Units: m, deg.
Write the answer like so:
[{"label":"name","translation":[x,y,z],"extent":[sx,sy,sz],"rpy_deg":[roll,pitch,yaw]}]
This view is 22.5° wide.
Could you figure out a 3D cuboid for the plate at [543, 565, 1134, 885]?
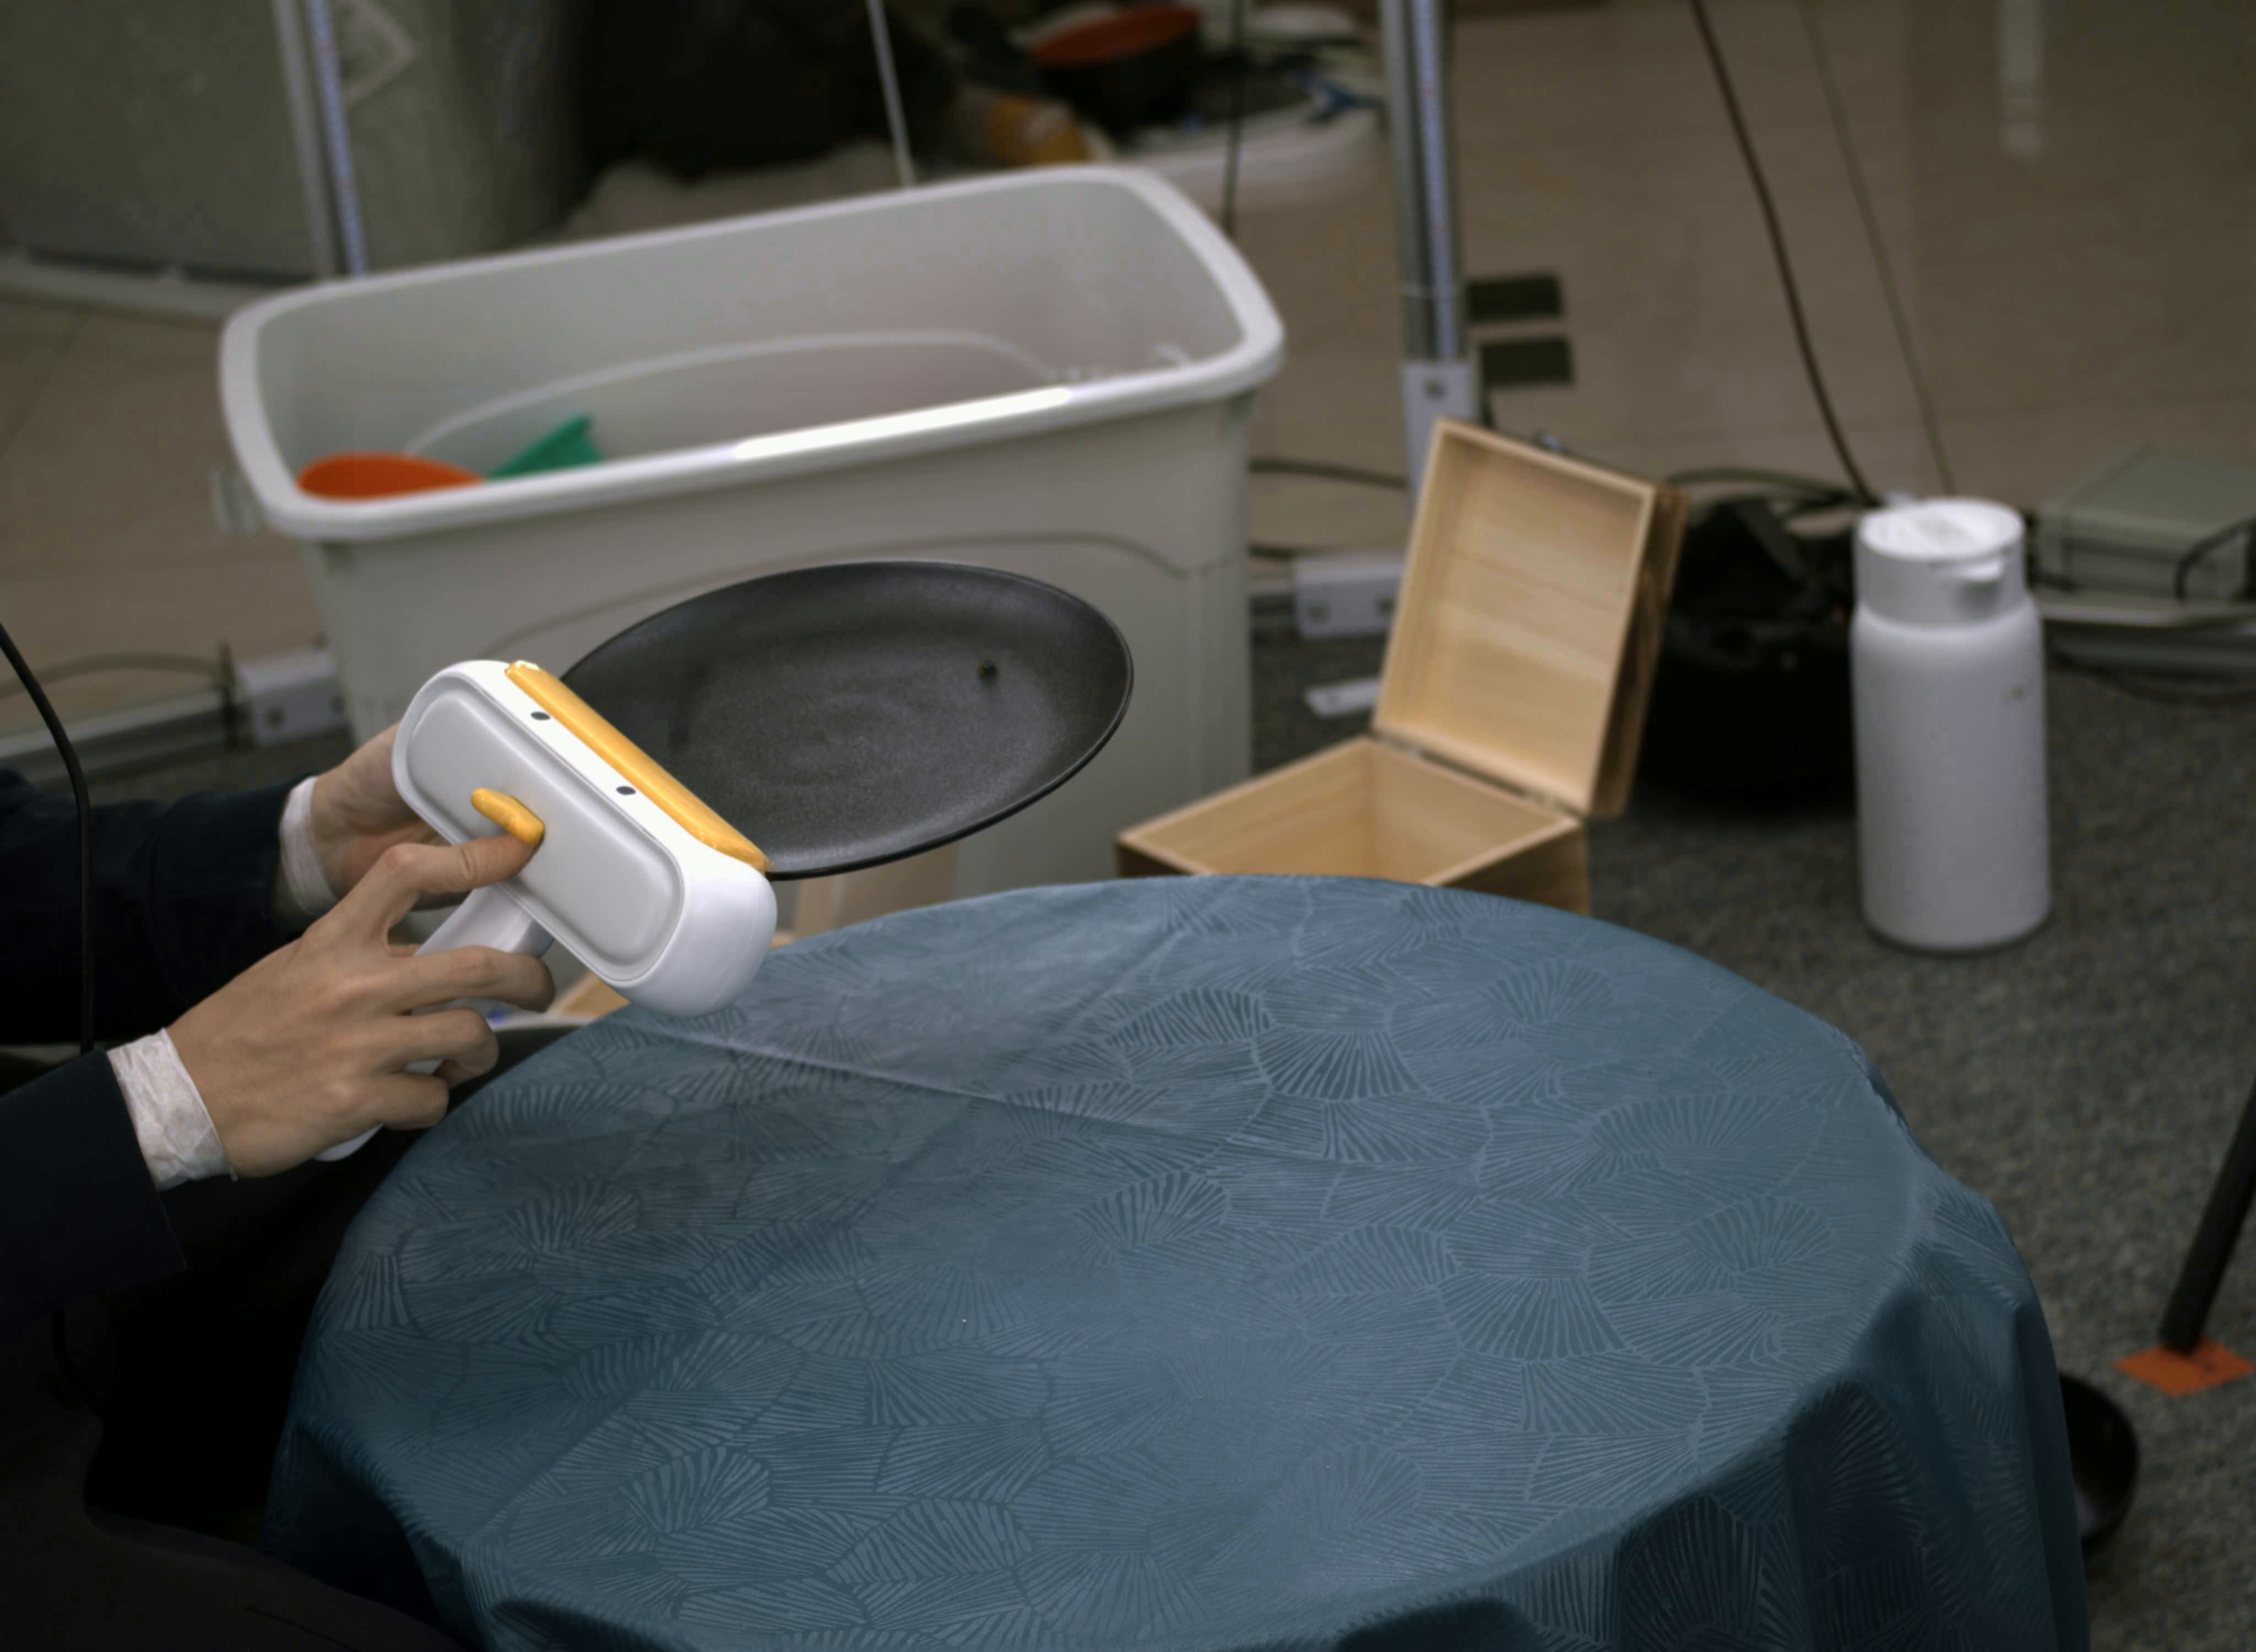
[{"label":"plate","translation":[-0.116,-0.035,2.189],"extent":[0.244,0.024,0.240],"rpy_deg":[-7,30,4]}]

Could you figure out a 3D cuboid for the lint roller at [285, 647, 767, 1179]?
[{"label":"lint roller","translation":[-0.241,0.047,2.094],"extent":[0.191,0.193,0.074],"rpy_deg":[34,6,33]}]
